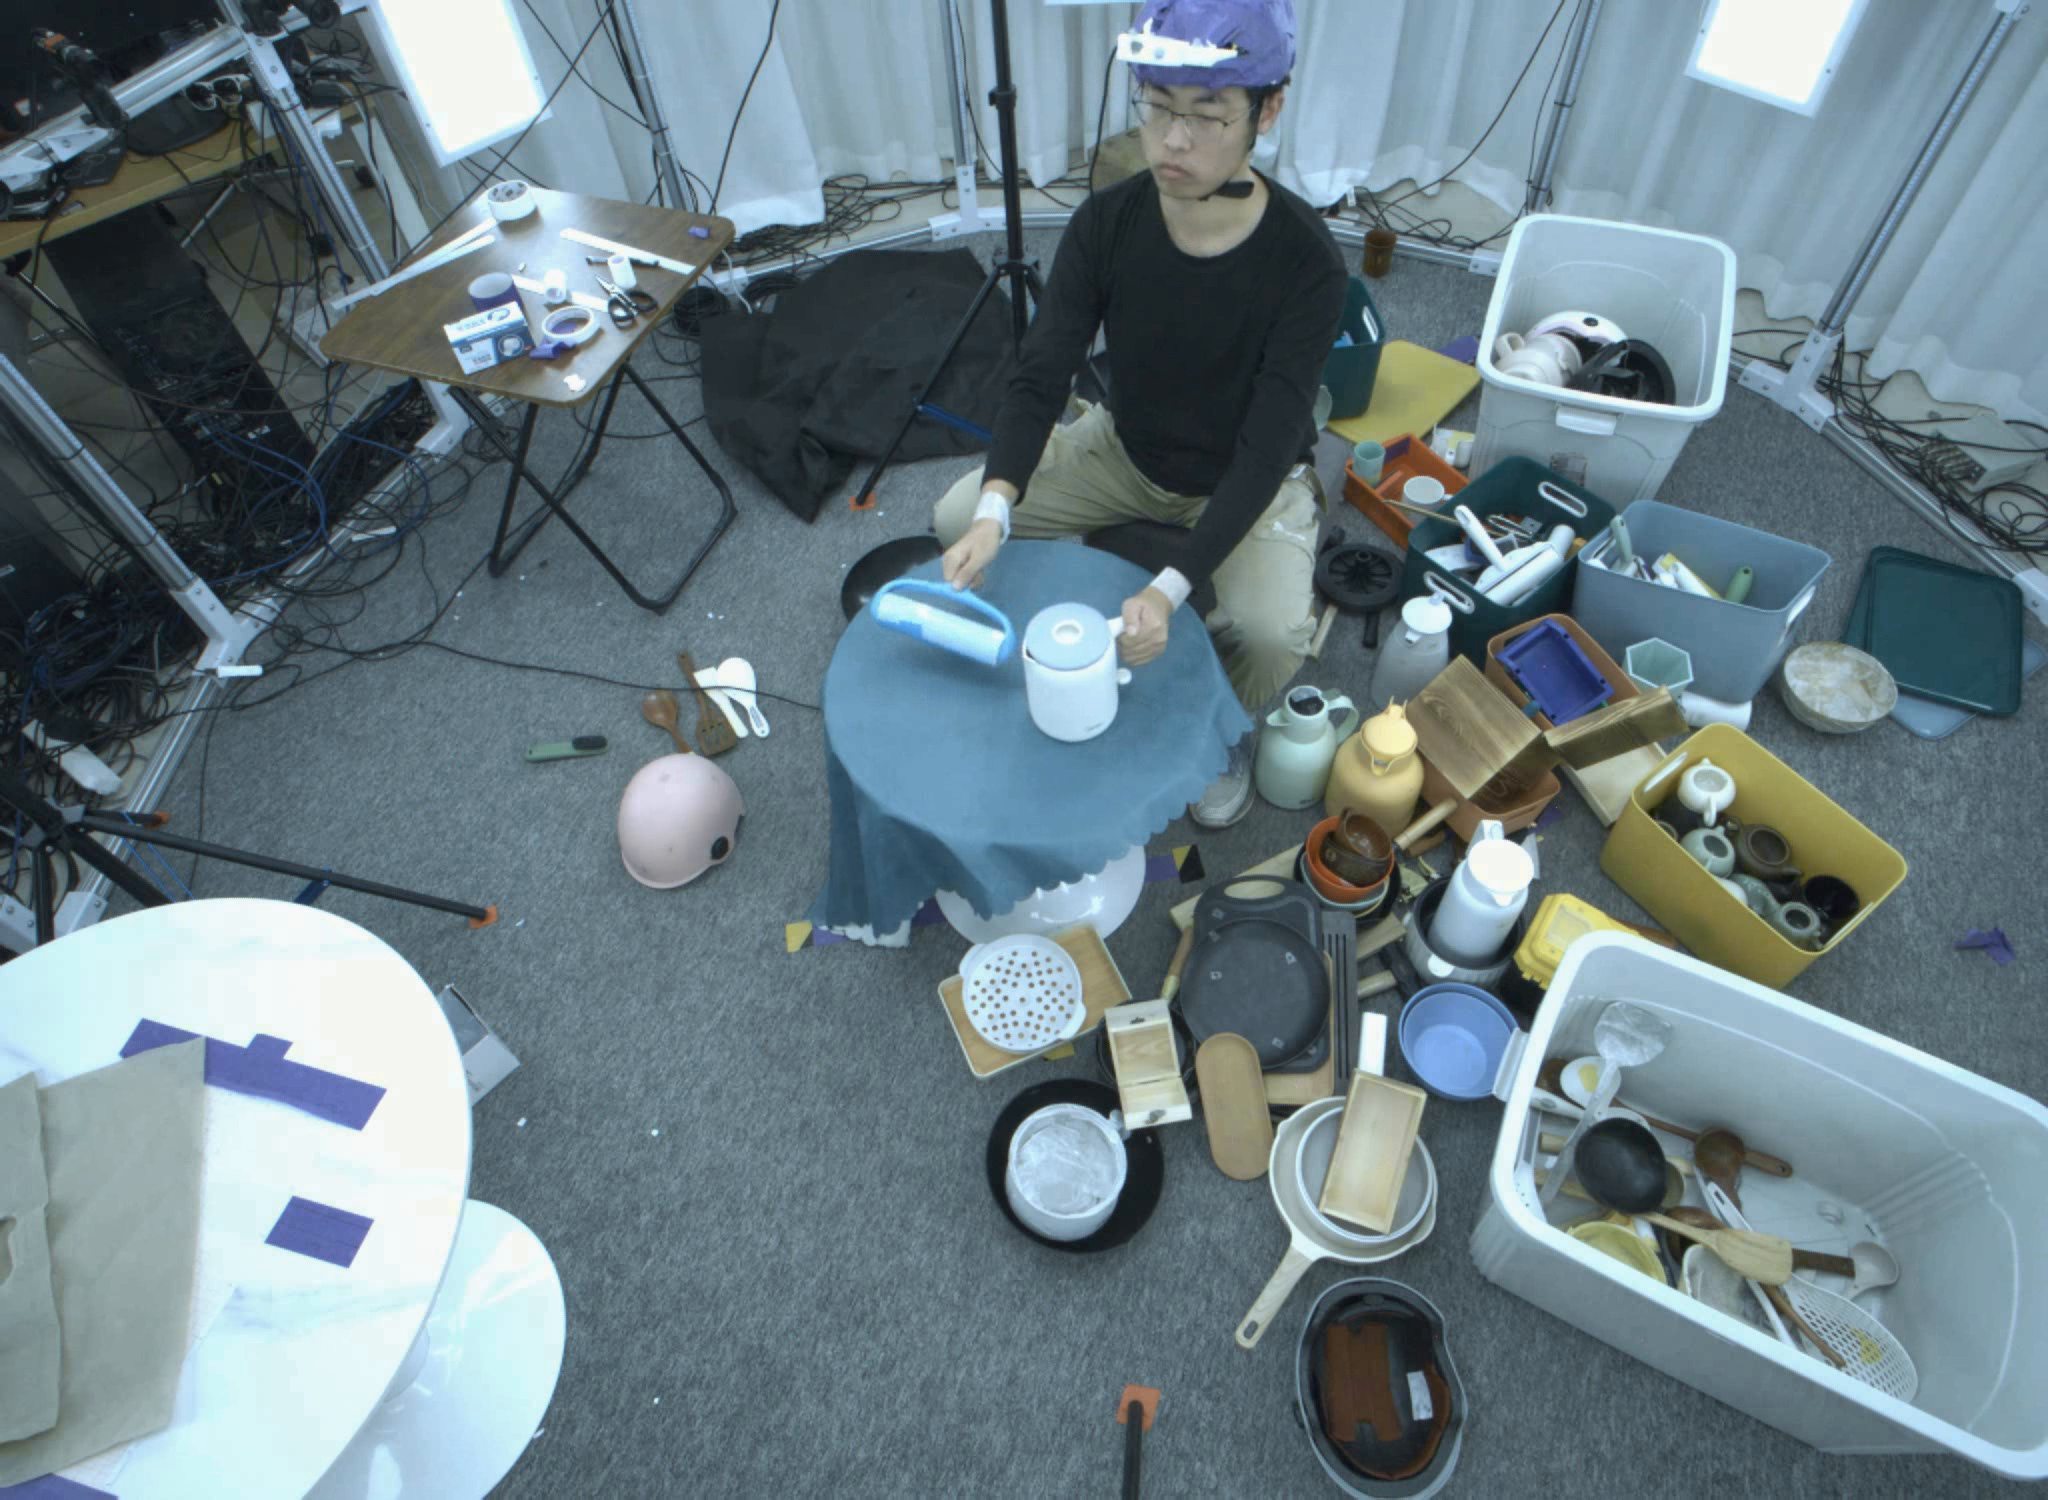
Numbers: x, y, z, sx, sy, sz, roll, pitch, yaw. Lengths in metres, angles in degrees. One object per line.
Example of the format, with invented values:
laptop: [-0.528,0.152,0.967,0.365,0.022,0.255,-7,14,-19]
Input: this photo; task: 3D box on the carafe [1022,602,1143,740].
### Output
carafe: [0.088,-0.121,1.762,0.192,0.184,0.130,-24,58,-14]

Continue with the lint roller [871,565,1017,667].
lint roller: [-0.103,-0.229,1.863,0.228,0.068,0.179,16,61,4]
